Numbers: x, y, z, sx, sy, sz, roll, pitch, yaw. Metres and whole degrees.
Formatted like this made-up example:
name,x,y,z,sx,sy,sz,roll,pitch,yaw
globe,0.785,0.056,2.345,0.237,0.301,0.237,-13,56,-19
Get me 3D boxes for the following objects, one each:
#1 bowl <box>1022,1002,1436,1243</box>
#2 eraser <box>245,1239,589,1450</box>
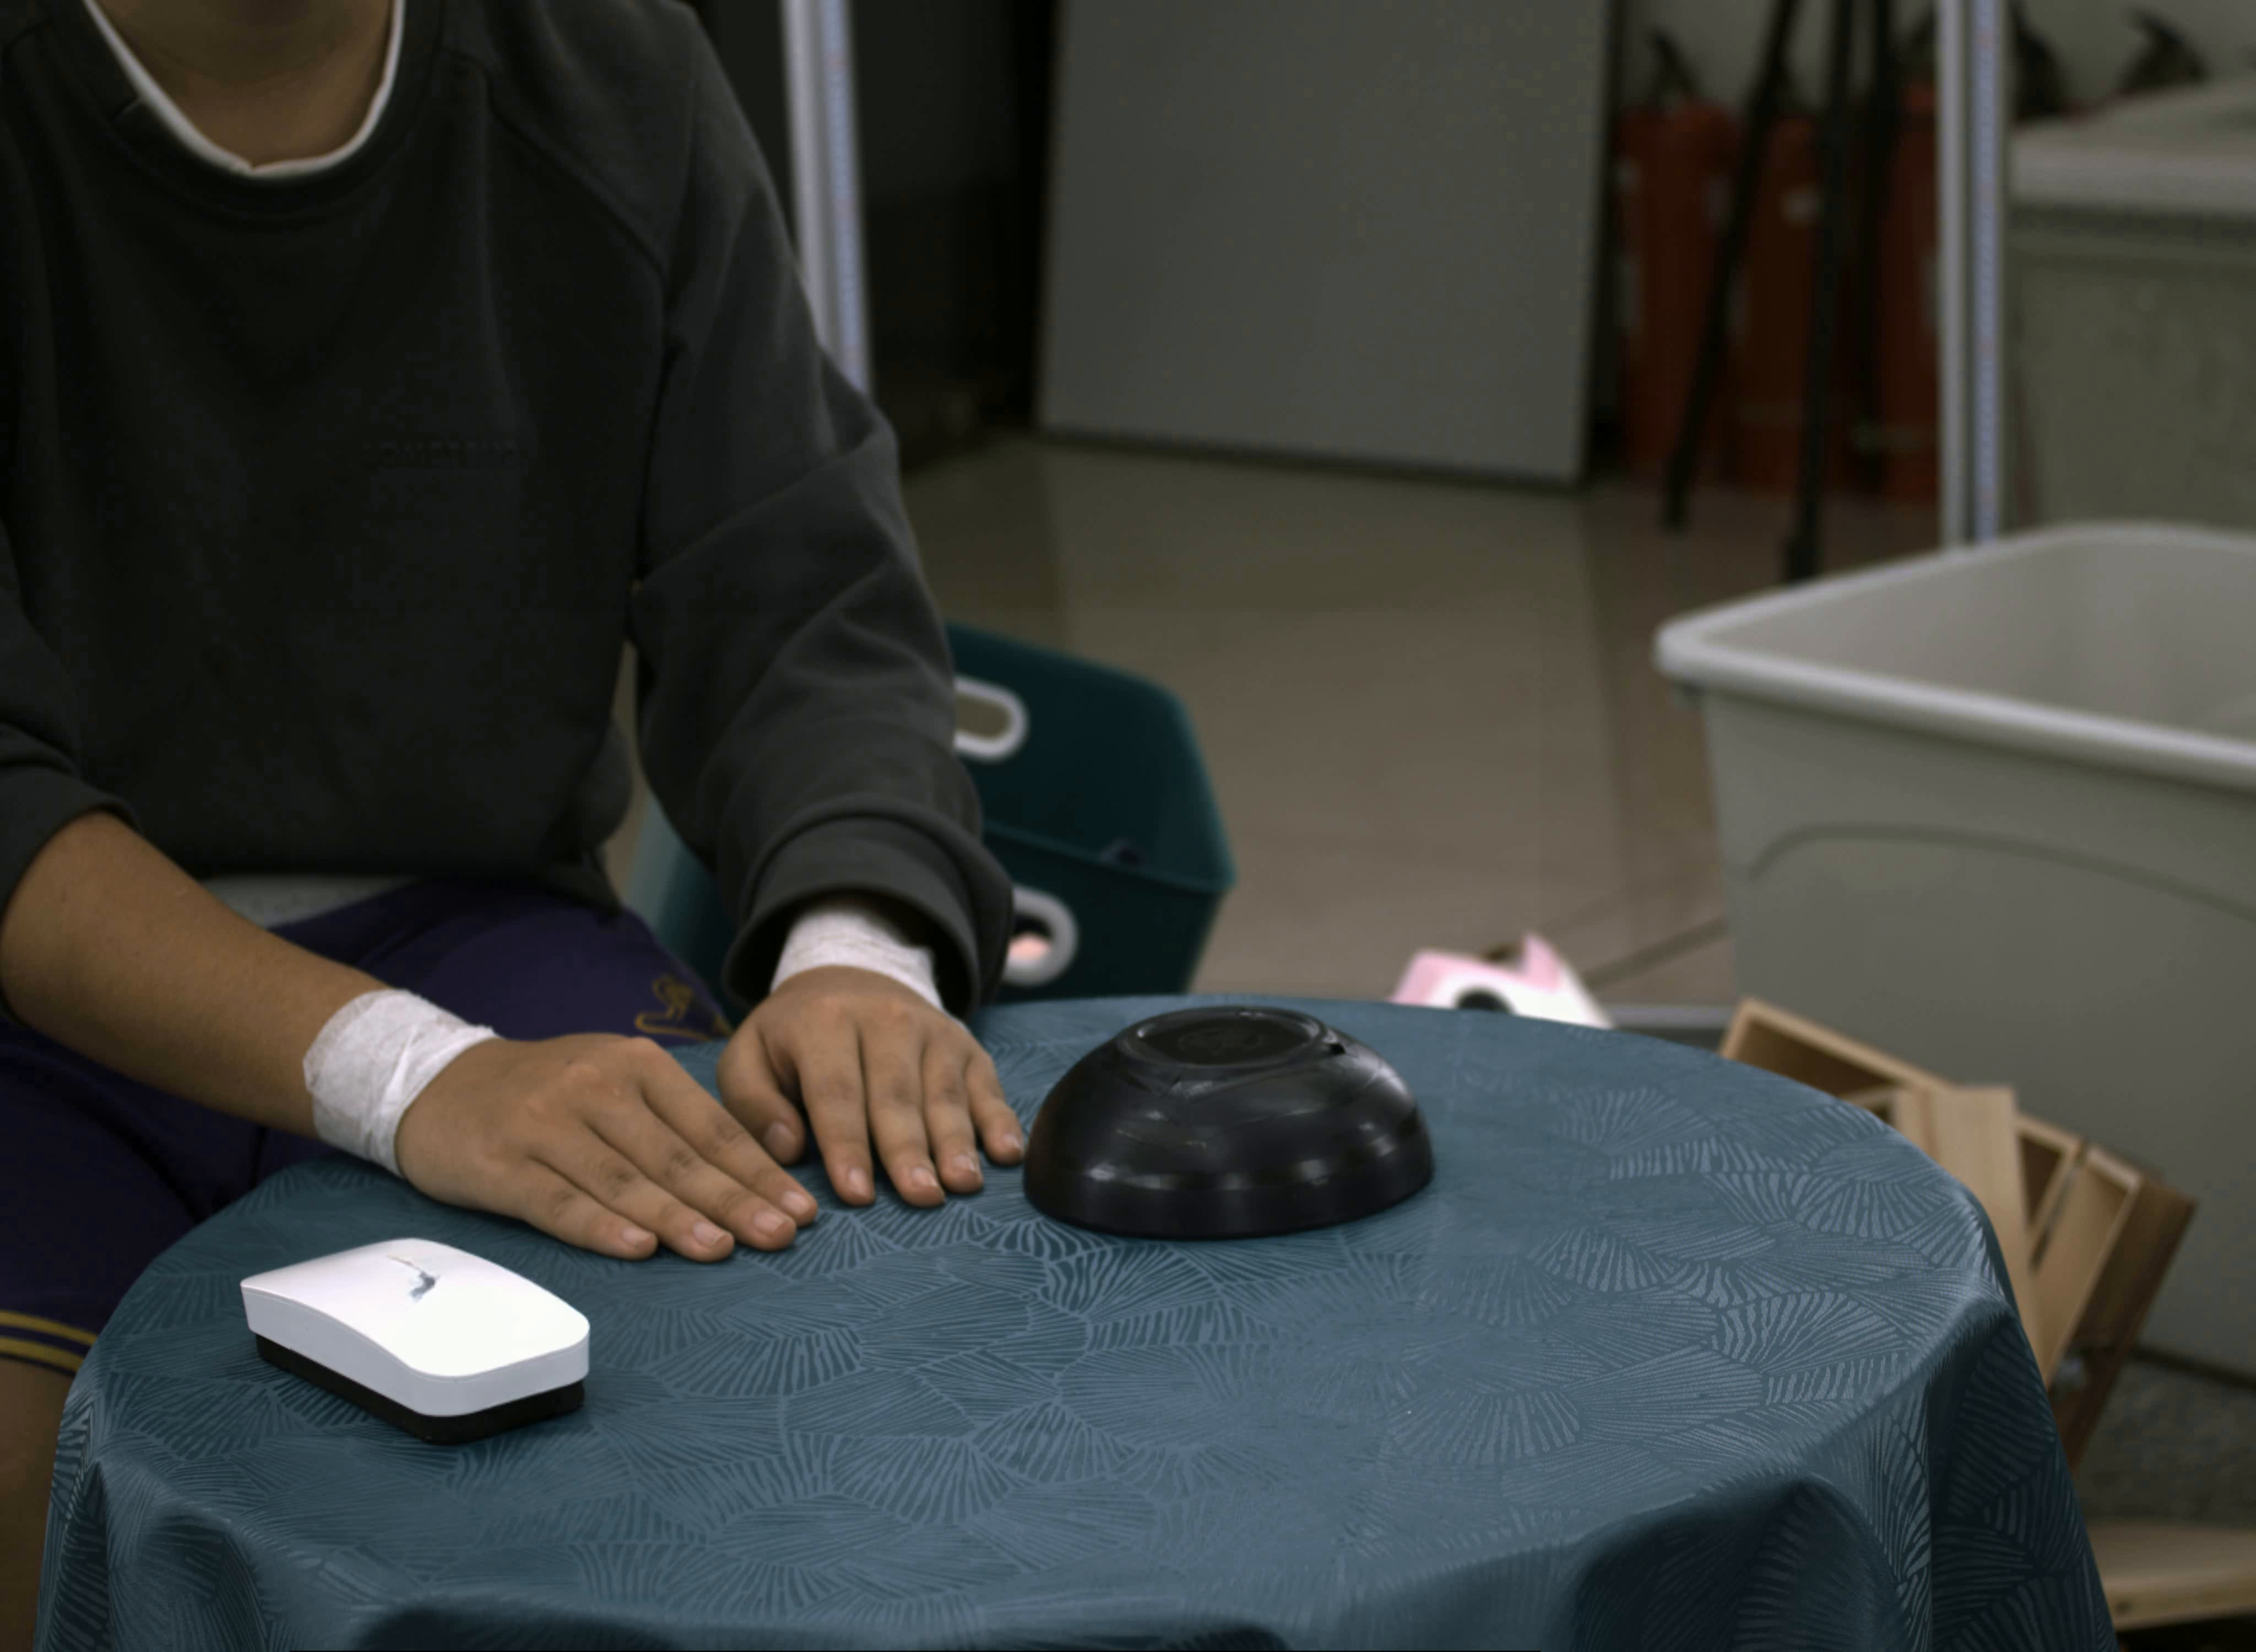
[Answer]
name,x,y,z,sx,sy,sz,roll,pitch,yaw
bowl,0.032,0.091,1.772,0.138,0.050,0.140,-4,15,0
eraser,-0.214,0.152,1.634,0.062,0.035,0.133,-11,17,-32
